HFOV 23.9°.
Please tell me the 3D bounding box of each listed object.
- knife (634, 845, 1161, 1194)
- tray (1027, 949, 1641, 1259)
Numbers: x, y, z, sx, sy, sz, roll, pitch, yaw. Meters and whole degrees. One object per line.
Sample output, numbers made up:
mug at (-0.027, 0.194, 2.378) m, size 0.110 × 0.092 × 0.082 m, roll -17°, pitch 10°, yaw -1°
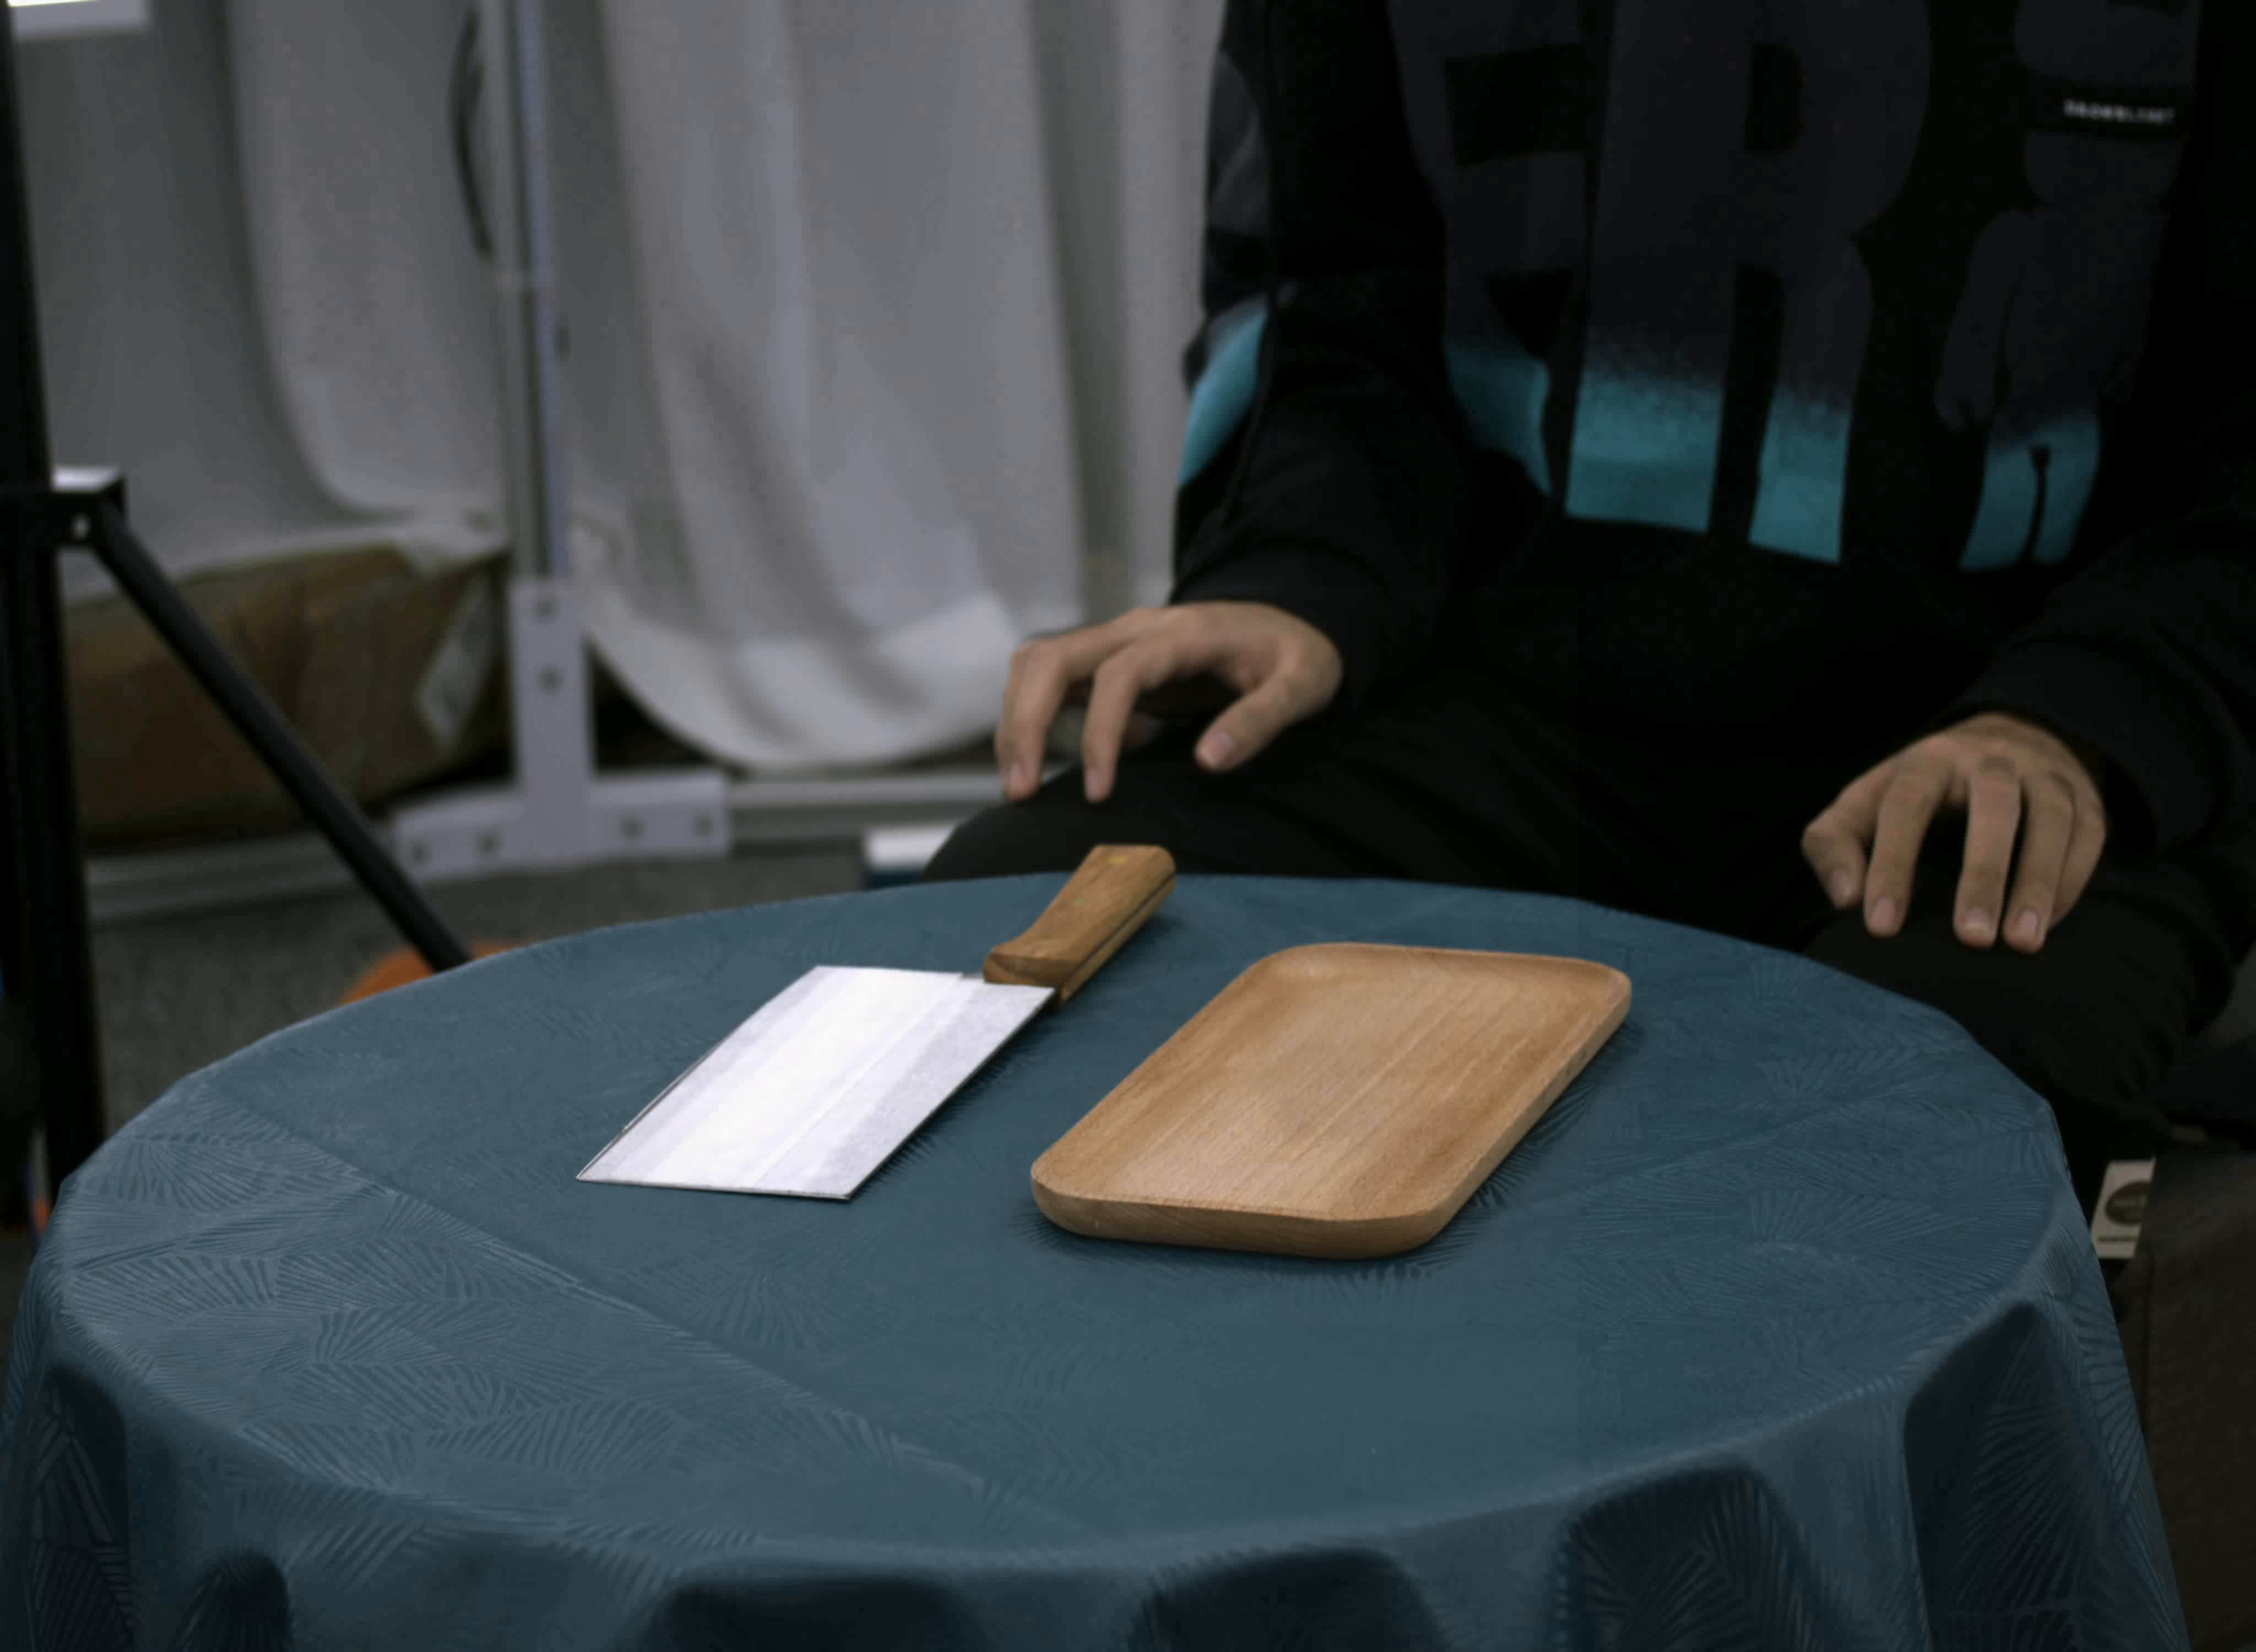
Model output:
knife at (-0.072, 0.061, 1.710) m, size 0.094 × 0.021 × 0.302 m, roll 2°, pitch 19°, yaw 20°
tray at (0.067, 0.082, 1.611) m, size 0.132 × 0.023 × 0.247 m, roll 6°, pitch 17°, yaw 22°
